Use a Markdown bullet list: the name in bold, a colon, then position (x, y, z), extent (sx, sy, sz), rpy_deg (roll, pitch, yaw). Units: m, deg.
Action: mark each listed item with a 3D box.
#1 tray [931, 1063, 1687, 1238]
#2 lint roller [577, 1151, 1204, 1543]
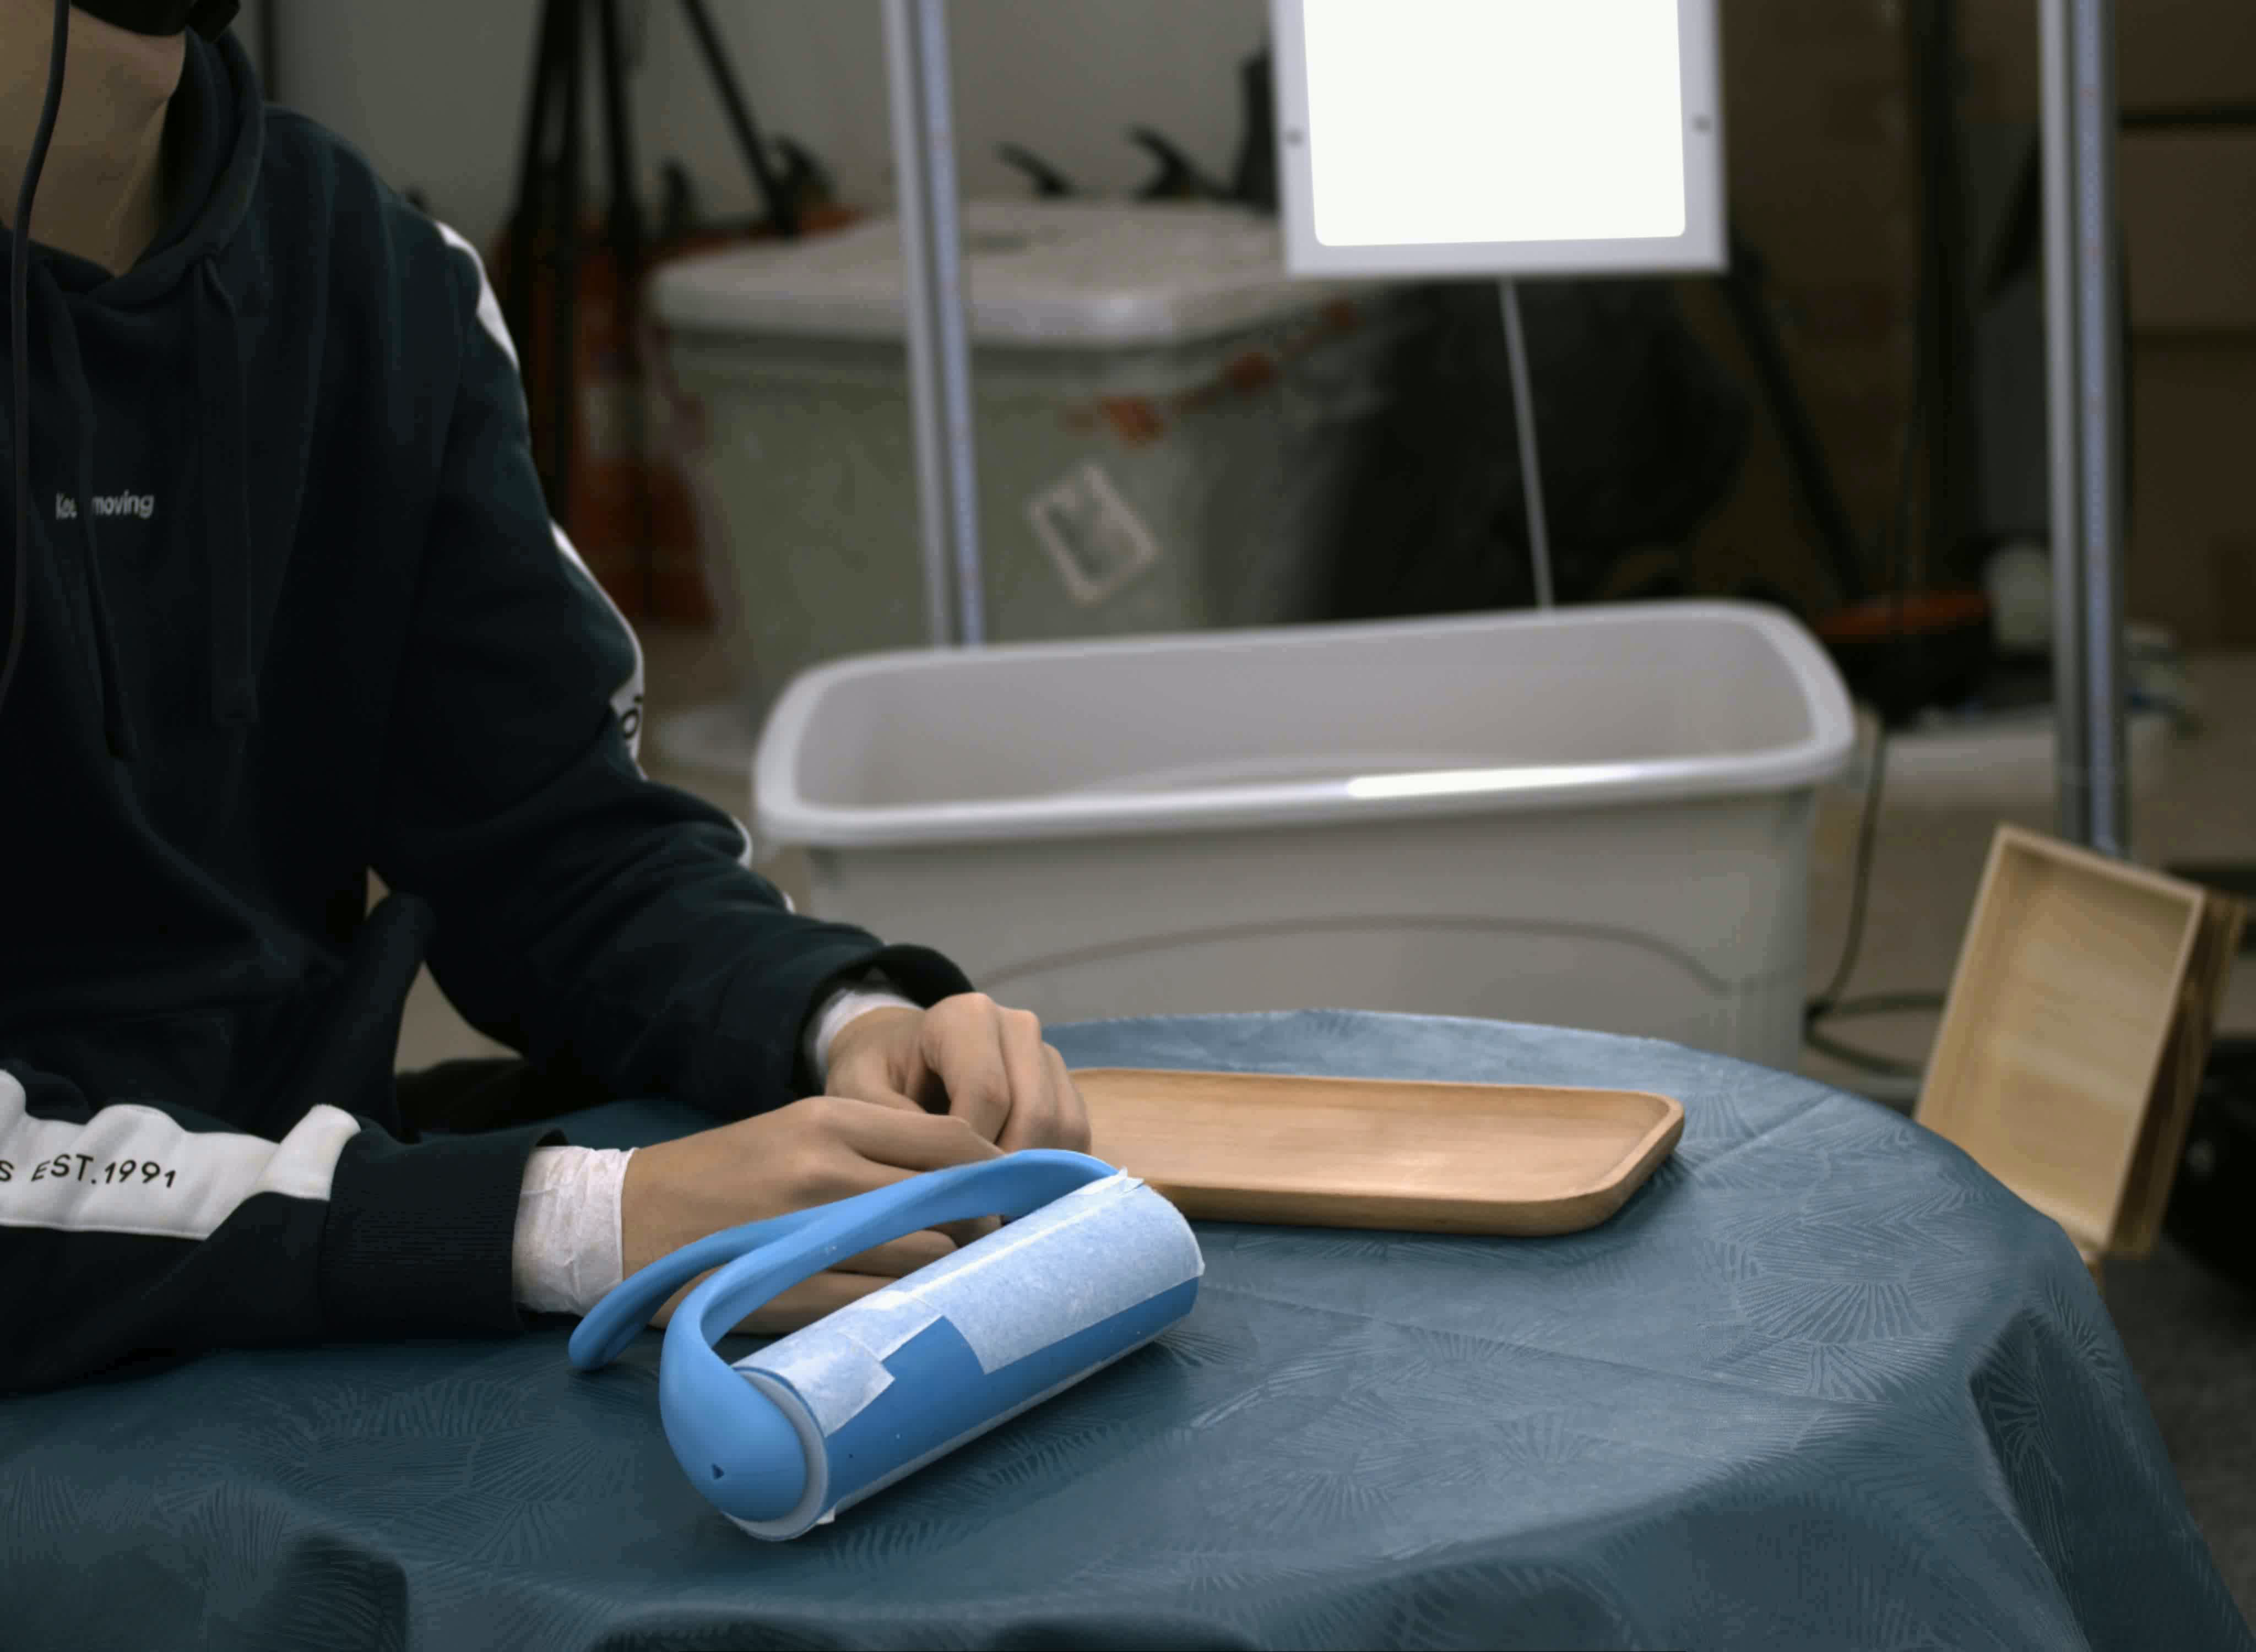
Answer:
- **tray**: position (0.062, 0.111, 1.899), extent (0.255, 0.023, 0.128), rpy_deg (1, 13, 25)
- **lint roller**: position (-0.101, 0.153, 1.703), extent (0.184, 0.068, 0.223), rpy_deg (6, 19, 33)
